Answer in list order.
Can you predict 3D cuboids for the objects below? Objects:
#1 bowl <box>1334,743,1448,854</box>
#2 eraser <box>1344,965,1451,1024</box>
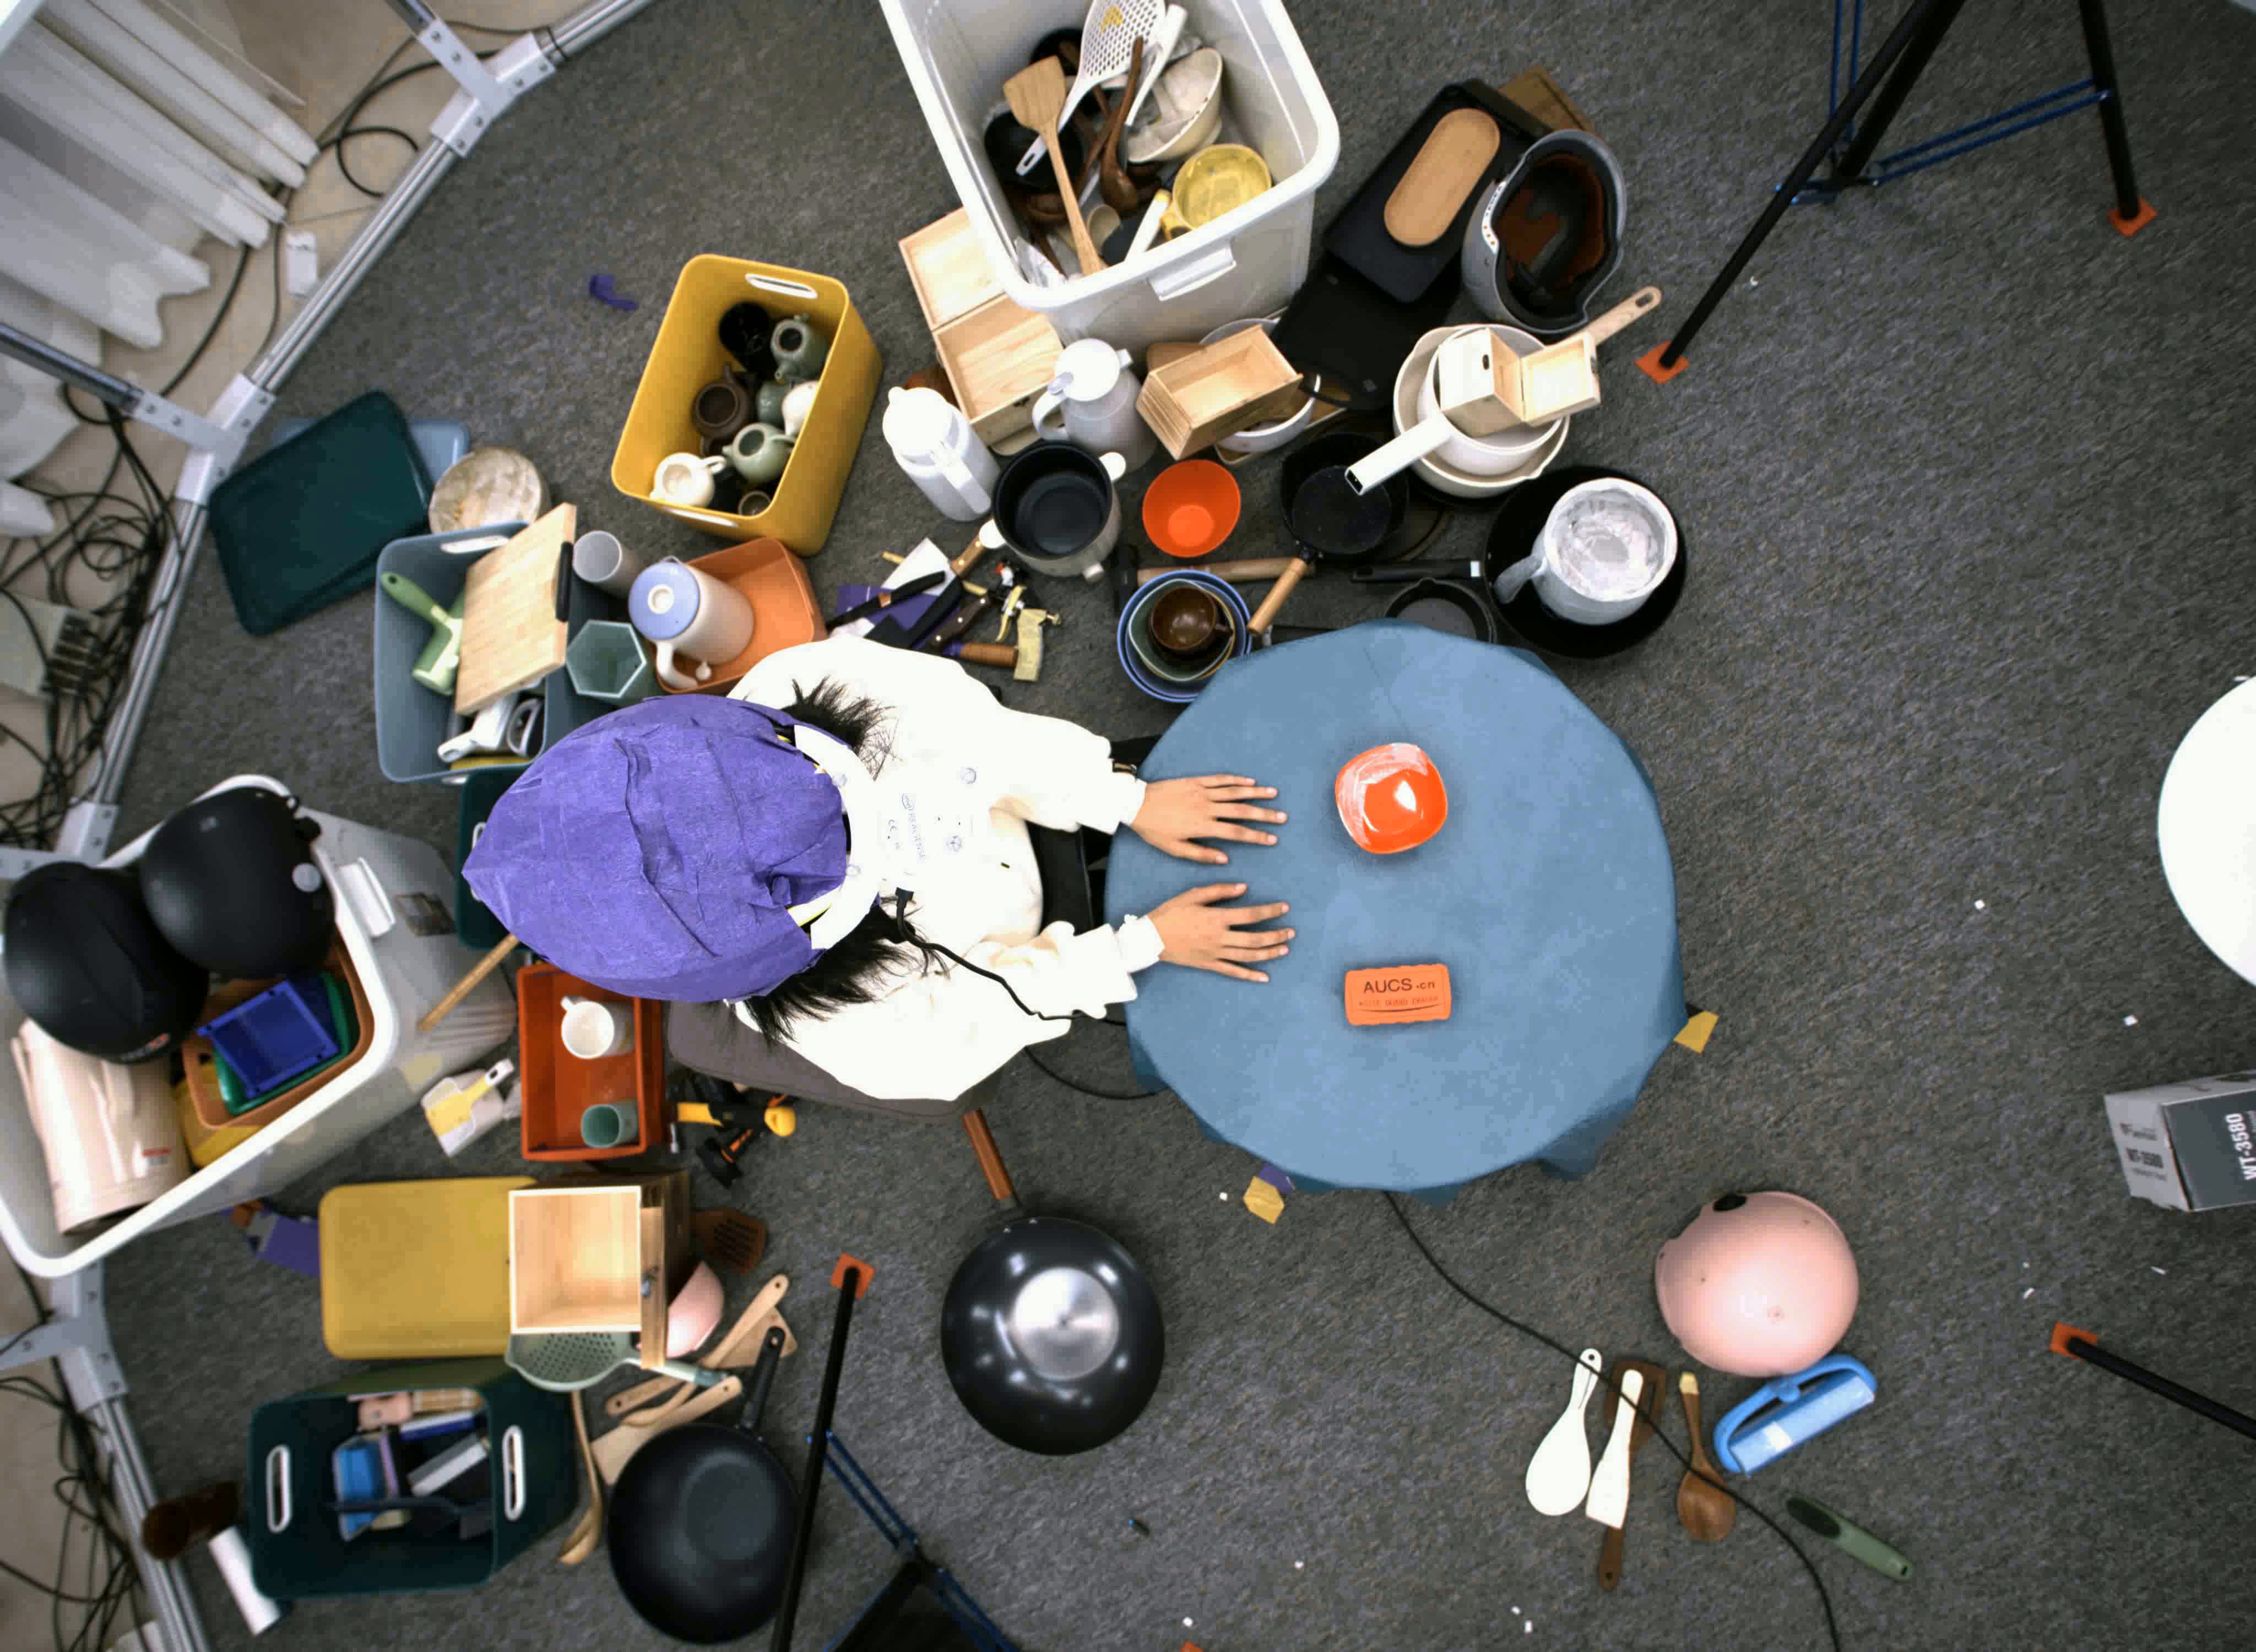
[{"bbox_3d":[0.275,-0.028,1.439,0.119,0.051,0.118,-1,88,11],"label":"bowl"},{"bbox_3d":[0.281,0.174,1.441,0.108,0.023,0.059,-4,88,10],"label":"eraser"}]
